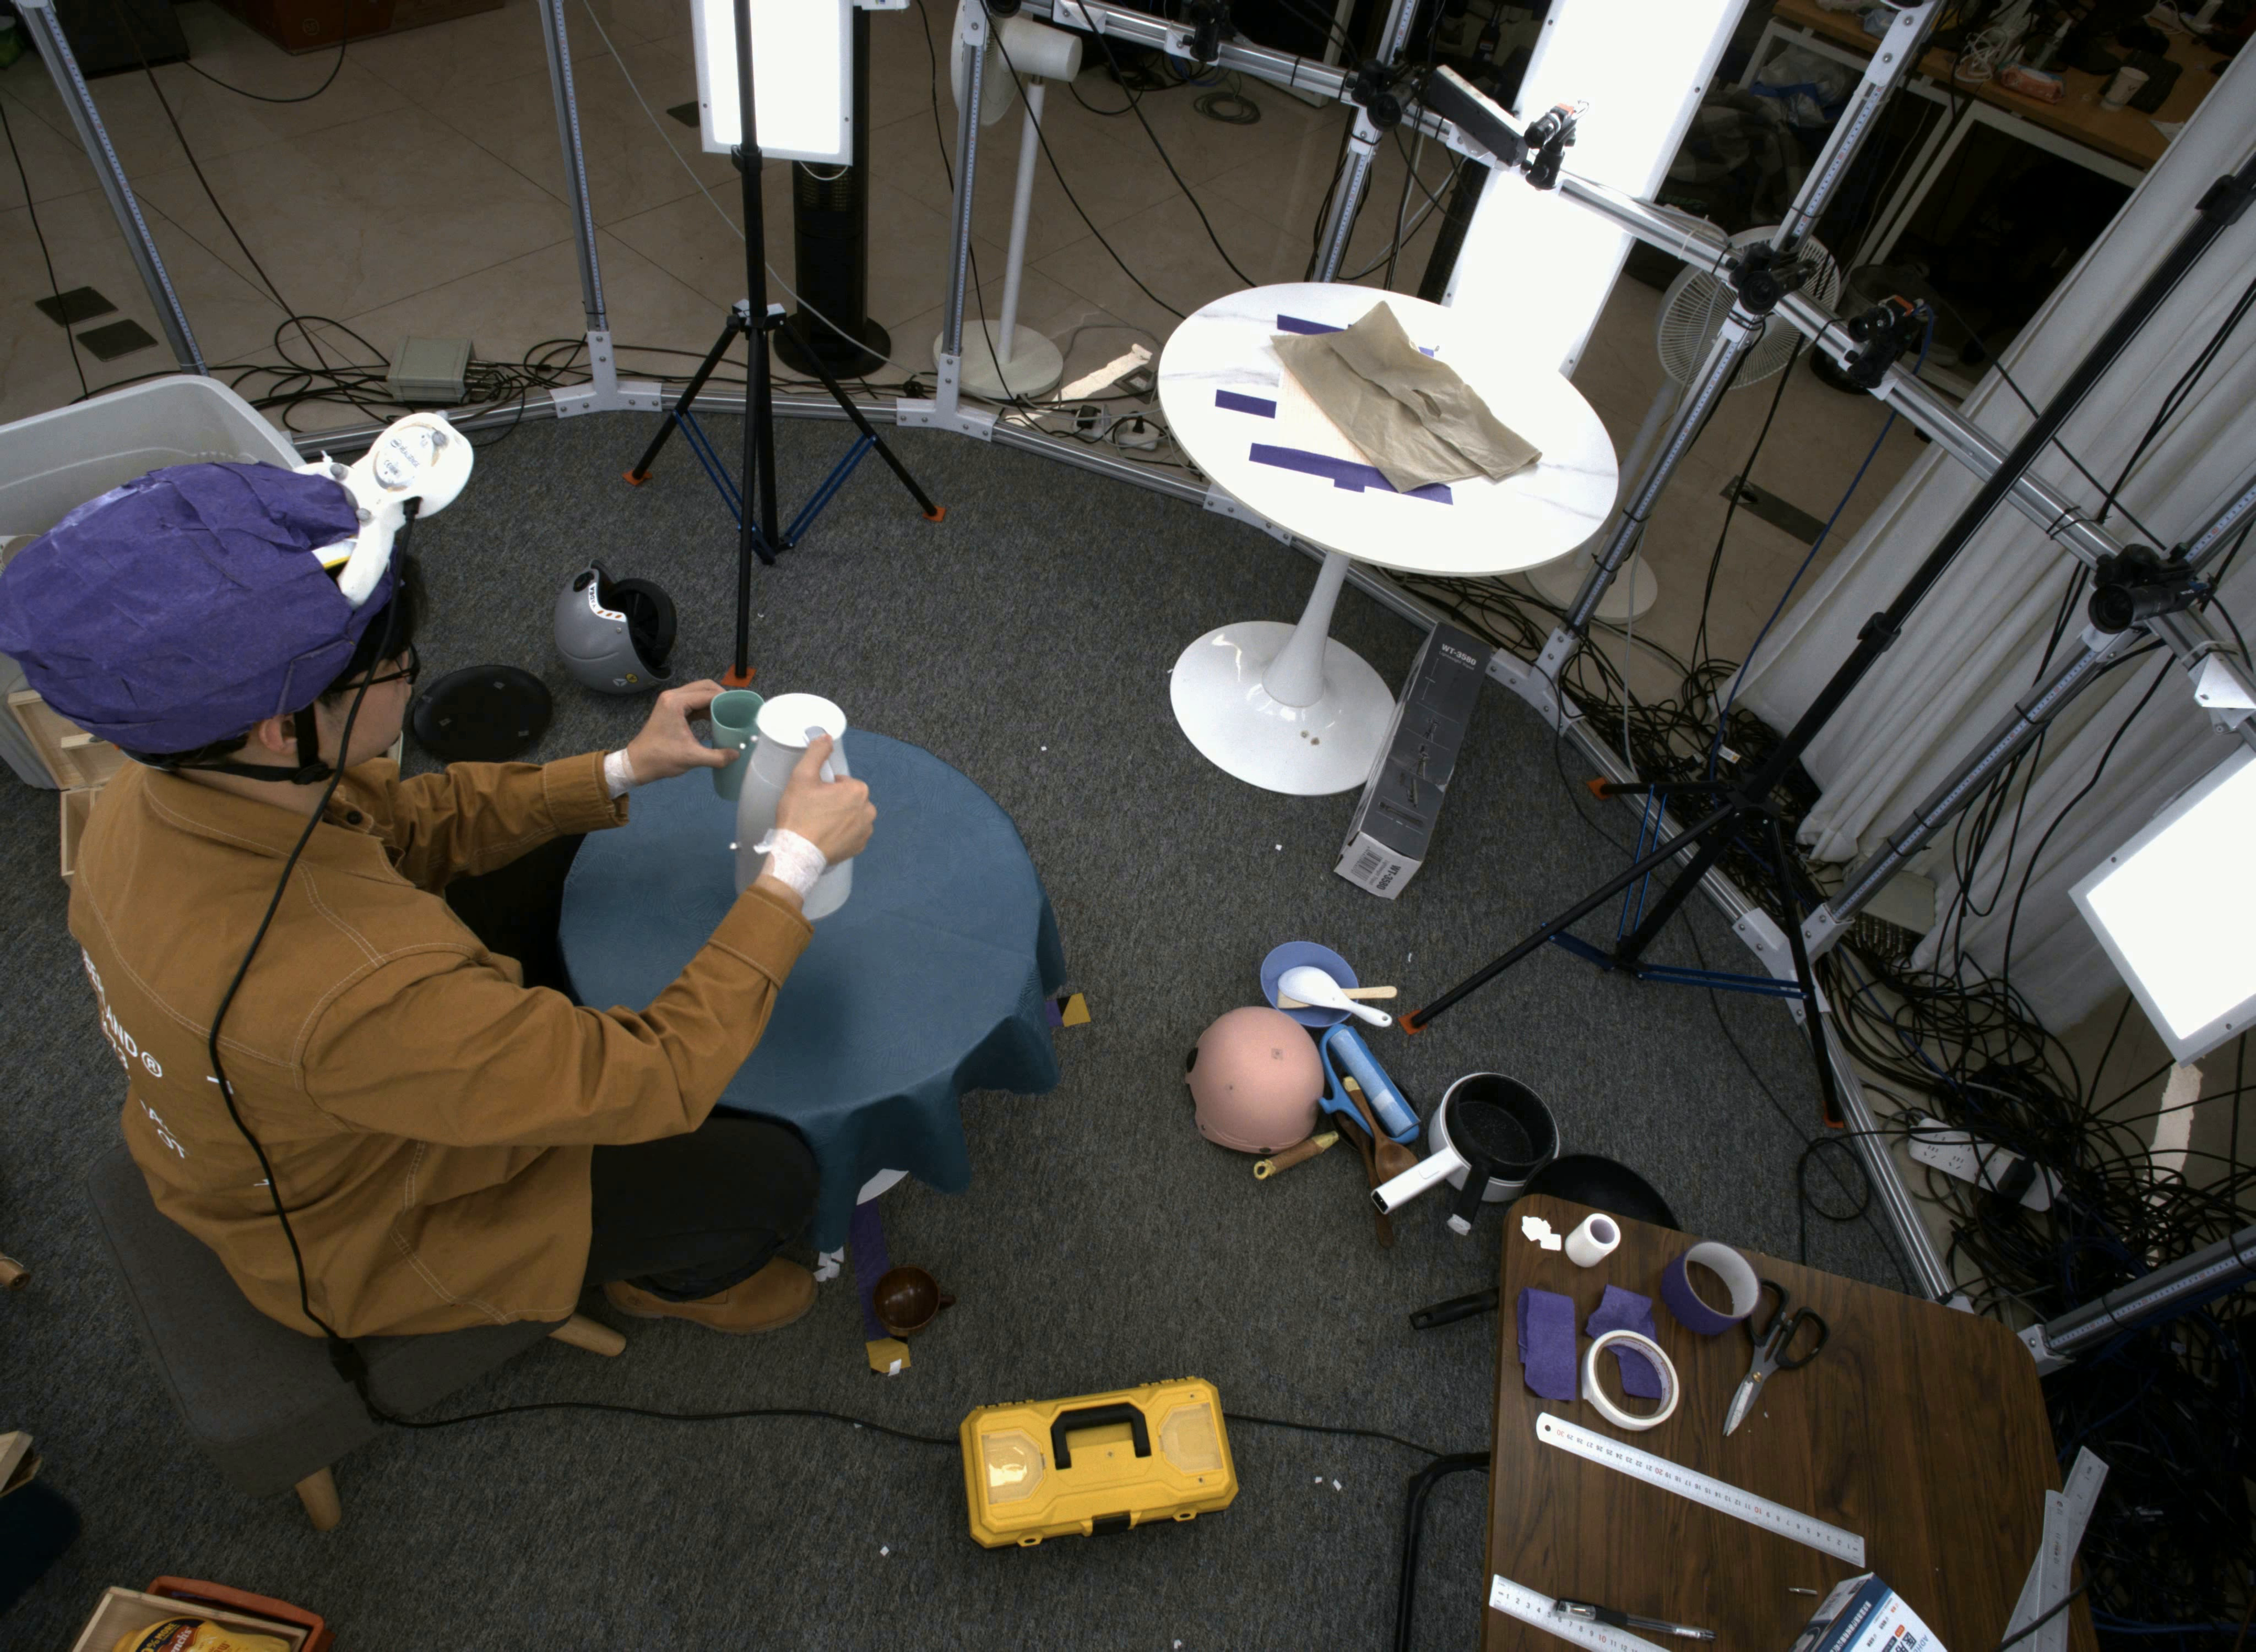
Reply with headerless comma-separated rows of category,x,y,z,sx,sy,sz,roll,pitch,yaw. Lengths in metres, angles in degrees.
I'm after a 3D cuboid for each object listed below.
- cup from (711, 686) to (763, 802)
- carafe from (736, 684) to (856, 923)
cup,-0.465,-0.097,1.533,0.067,0.135,0.065,10,48,-10
carafe,-0.350,-0.018,1.398,0.134,0.254,0.162,-15,49,-30
